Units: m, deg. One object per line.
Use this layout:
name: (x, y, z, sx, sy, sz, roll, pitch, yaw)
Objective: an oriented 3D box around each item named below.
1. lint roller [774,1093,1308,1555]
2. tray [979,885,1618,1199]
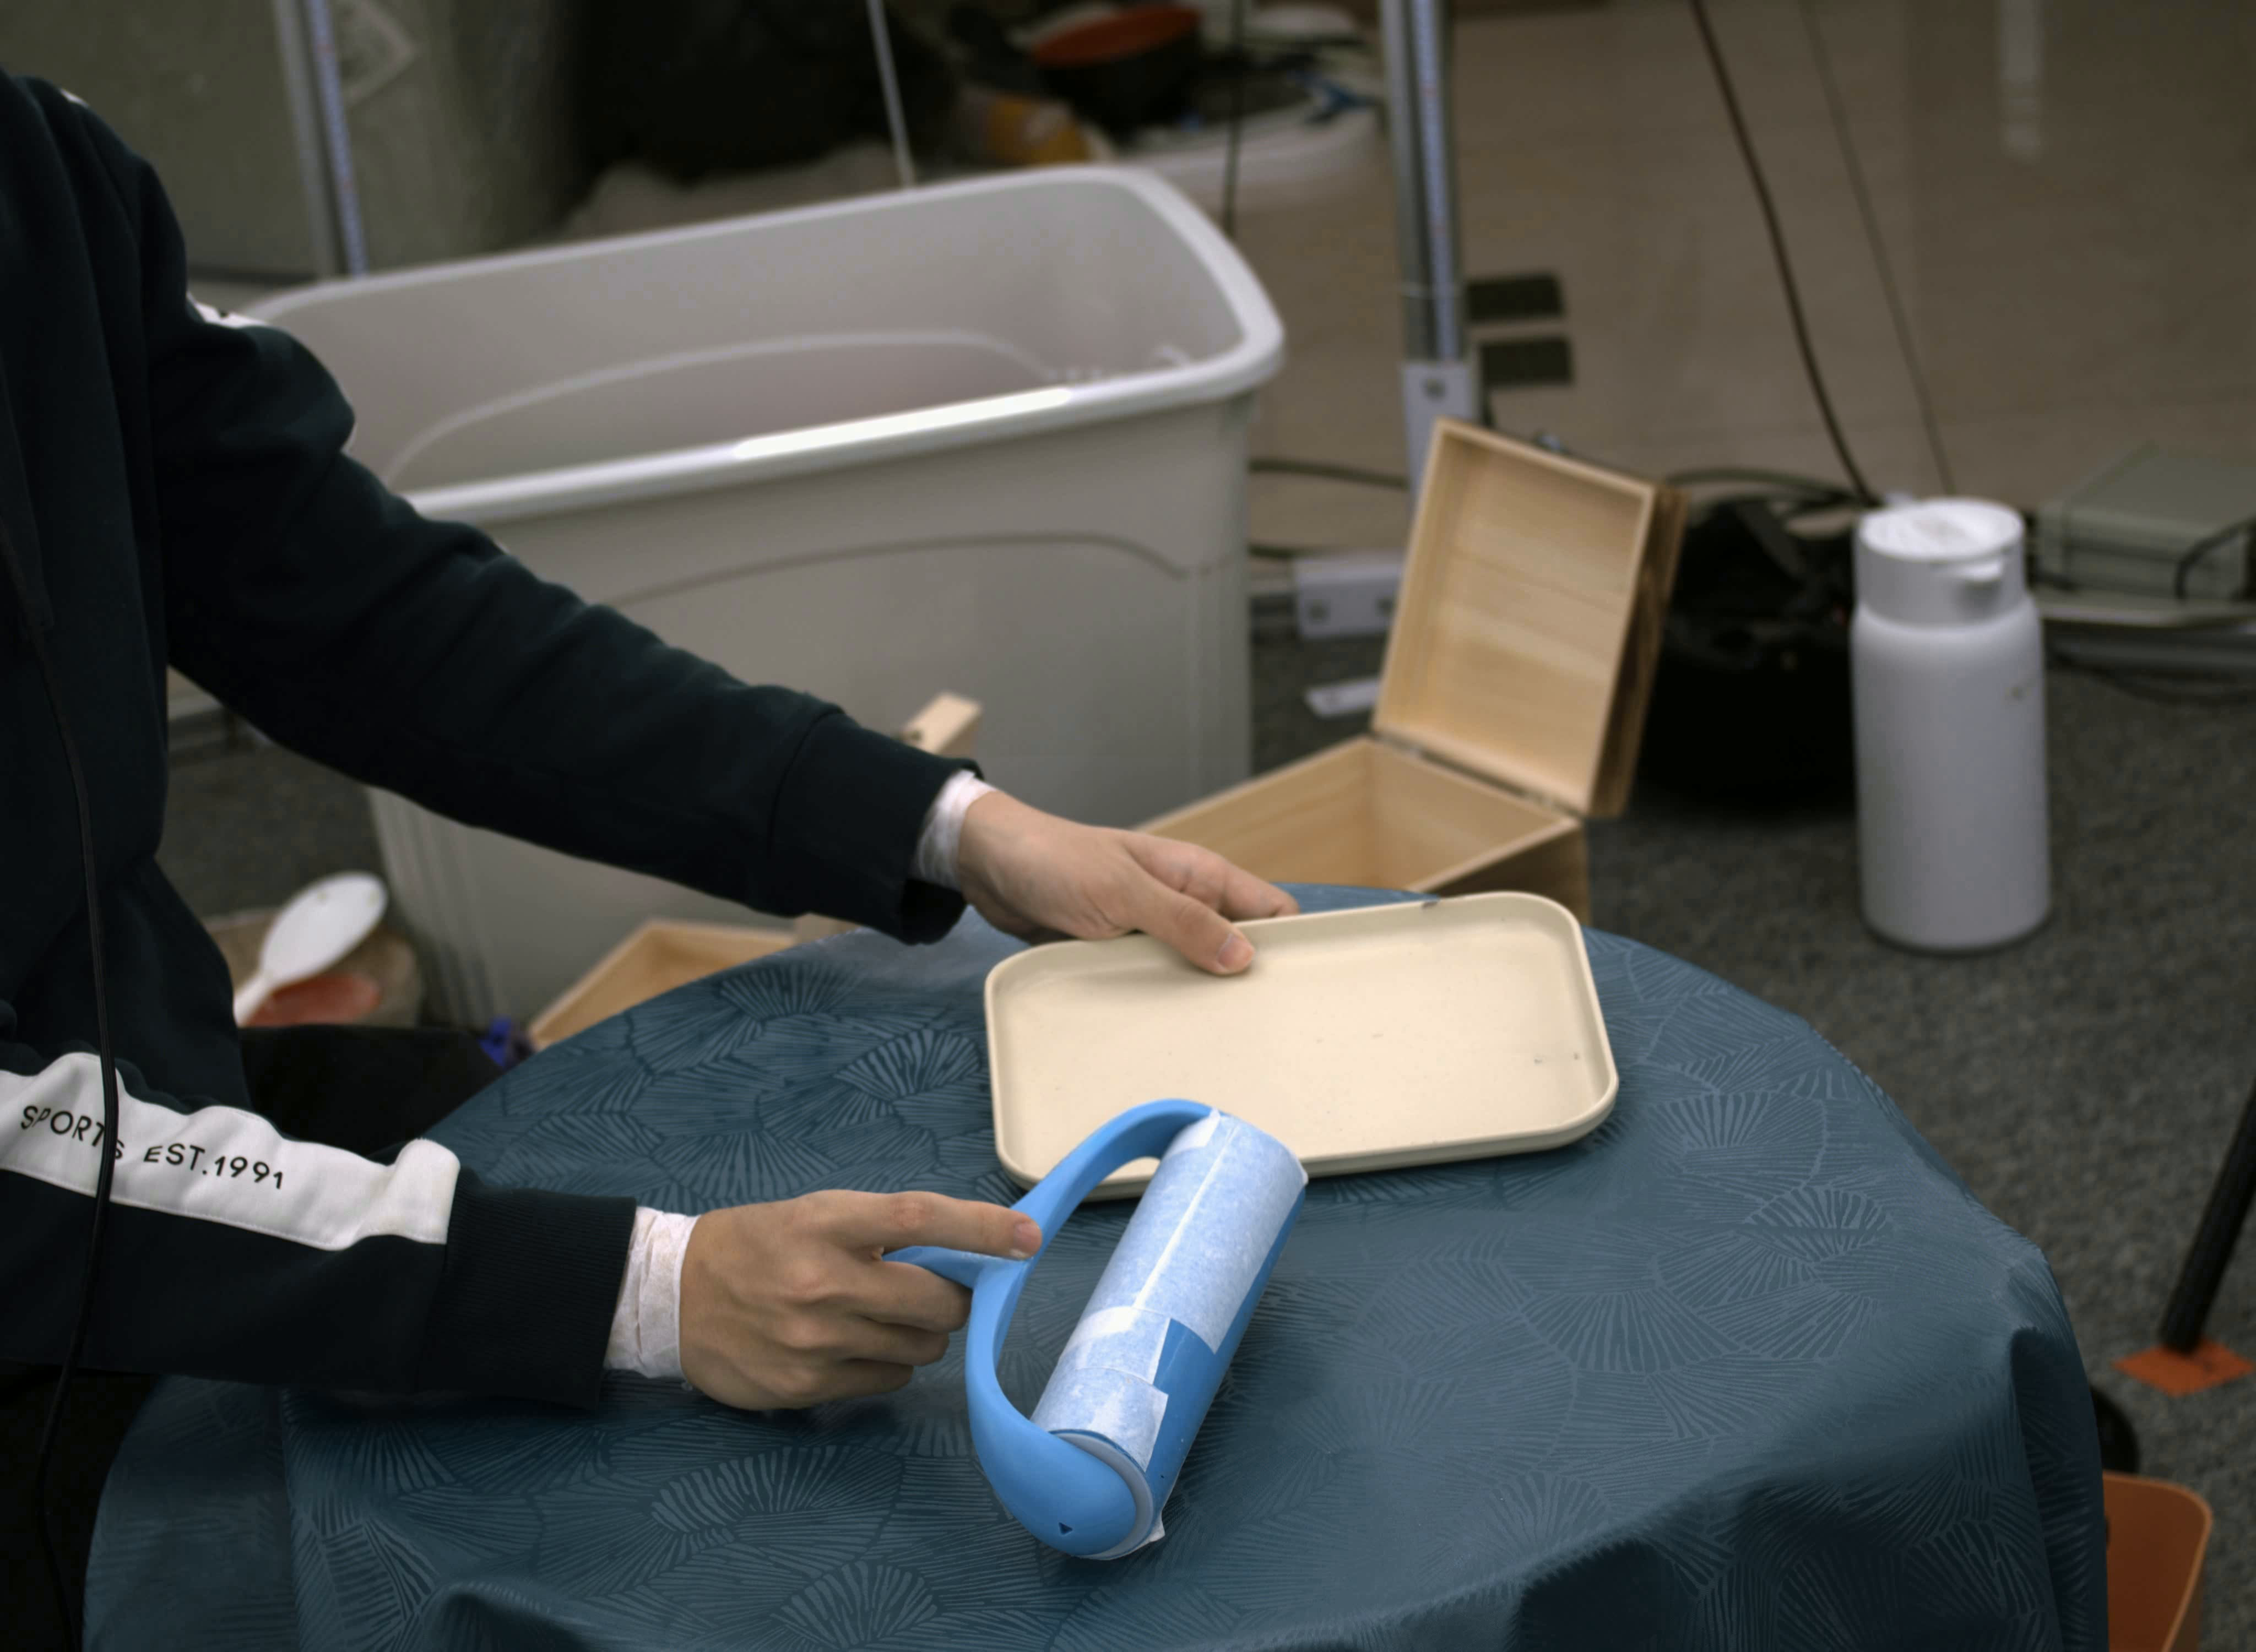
lint roller: (-0.044, 0.172, 1.994, 0.180, 0.069, 0.225, 1, 33, 16)
tray: (0.064, 0.086, 2.199, 0.239, 0.018, 0.168, -7, 33, 0)
